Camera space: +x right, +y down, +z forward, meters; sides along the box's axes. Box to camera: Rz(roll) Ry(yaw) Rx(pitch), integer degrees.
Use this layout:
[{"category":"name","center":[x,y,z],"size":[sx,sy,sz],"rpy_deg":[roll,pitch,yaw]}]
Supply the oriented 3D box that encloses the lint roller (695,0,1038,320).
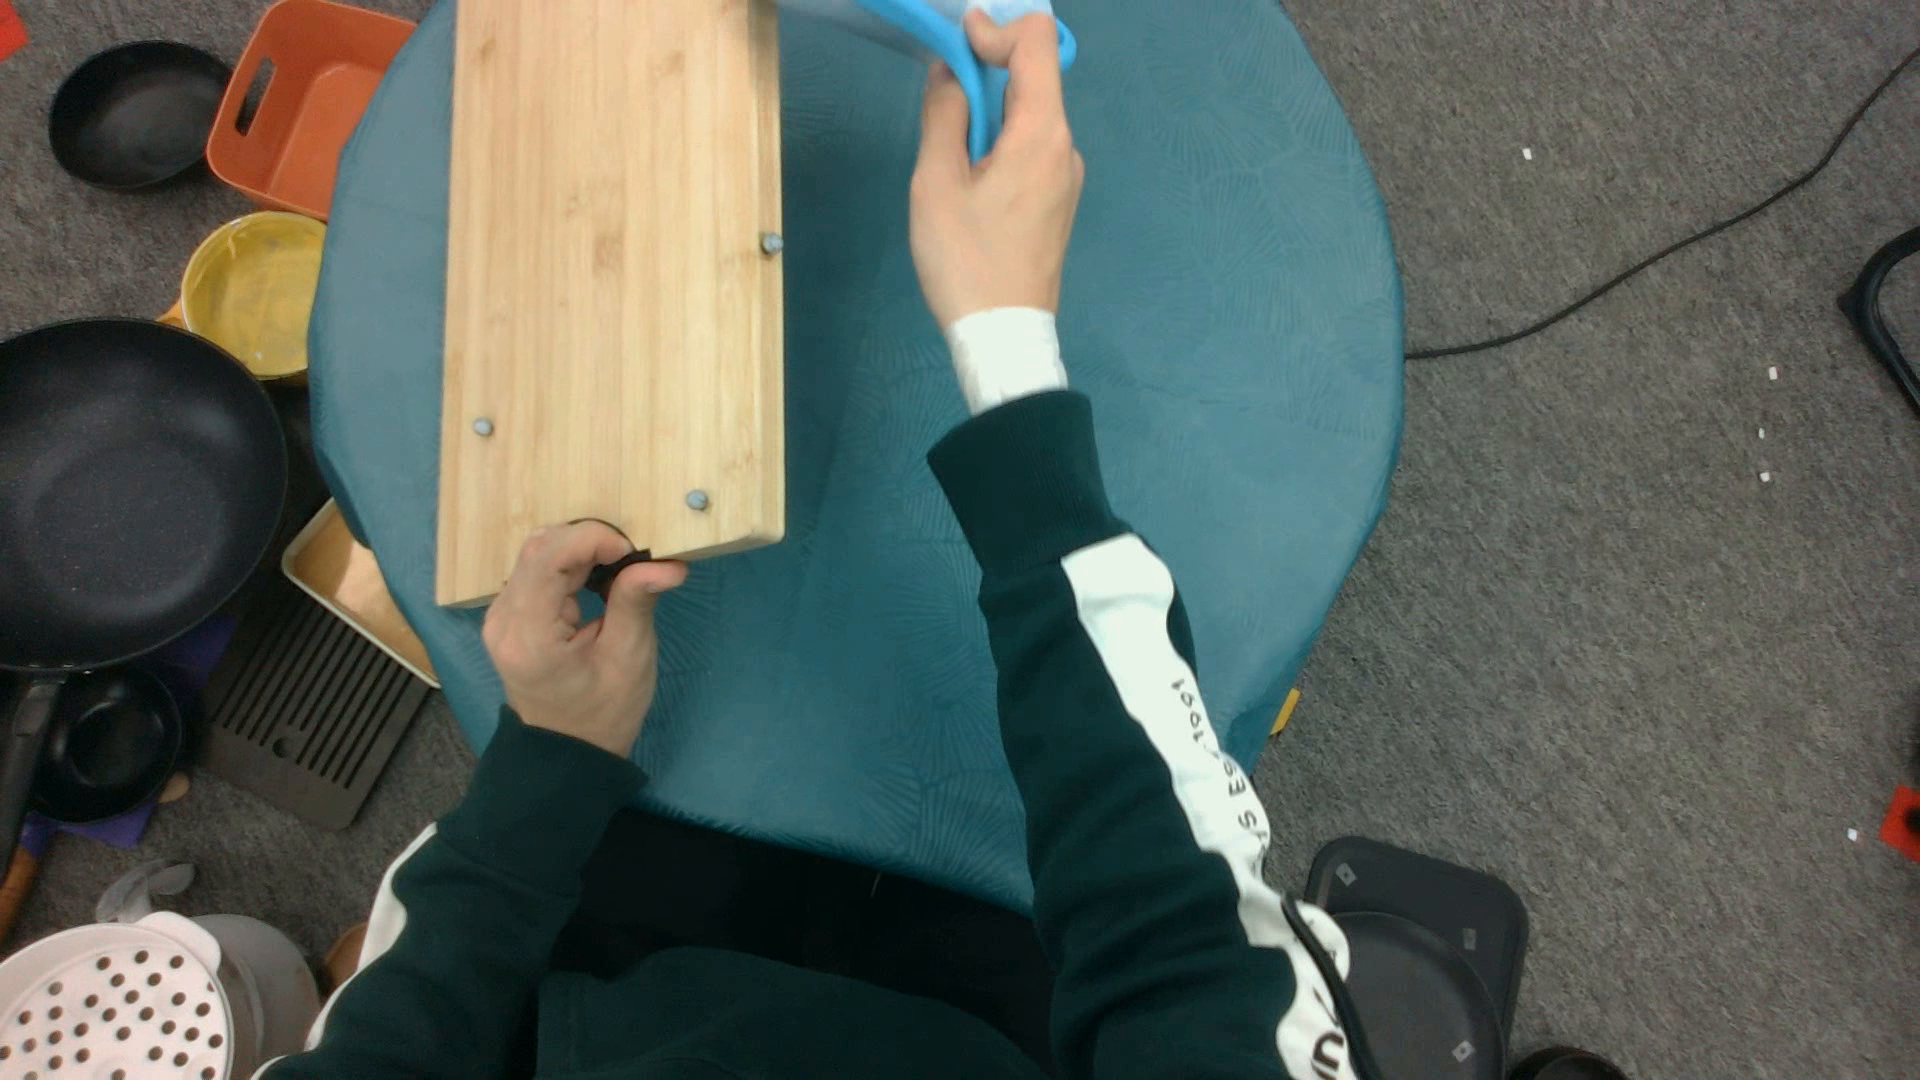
[{"category":"lint roller","center":[-0.026,-0.192,0.610],"size":[0.067,0.229,0.180],"rpy_deg":[-25,83,32]}]

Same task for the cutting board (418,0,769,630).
[{"category":"cutting board","center":[-0.184,-0.144,0.650],"size":[0.023,0.250,0.349],"rpy_deg":[9,73,-49]}]
